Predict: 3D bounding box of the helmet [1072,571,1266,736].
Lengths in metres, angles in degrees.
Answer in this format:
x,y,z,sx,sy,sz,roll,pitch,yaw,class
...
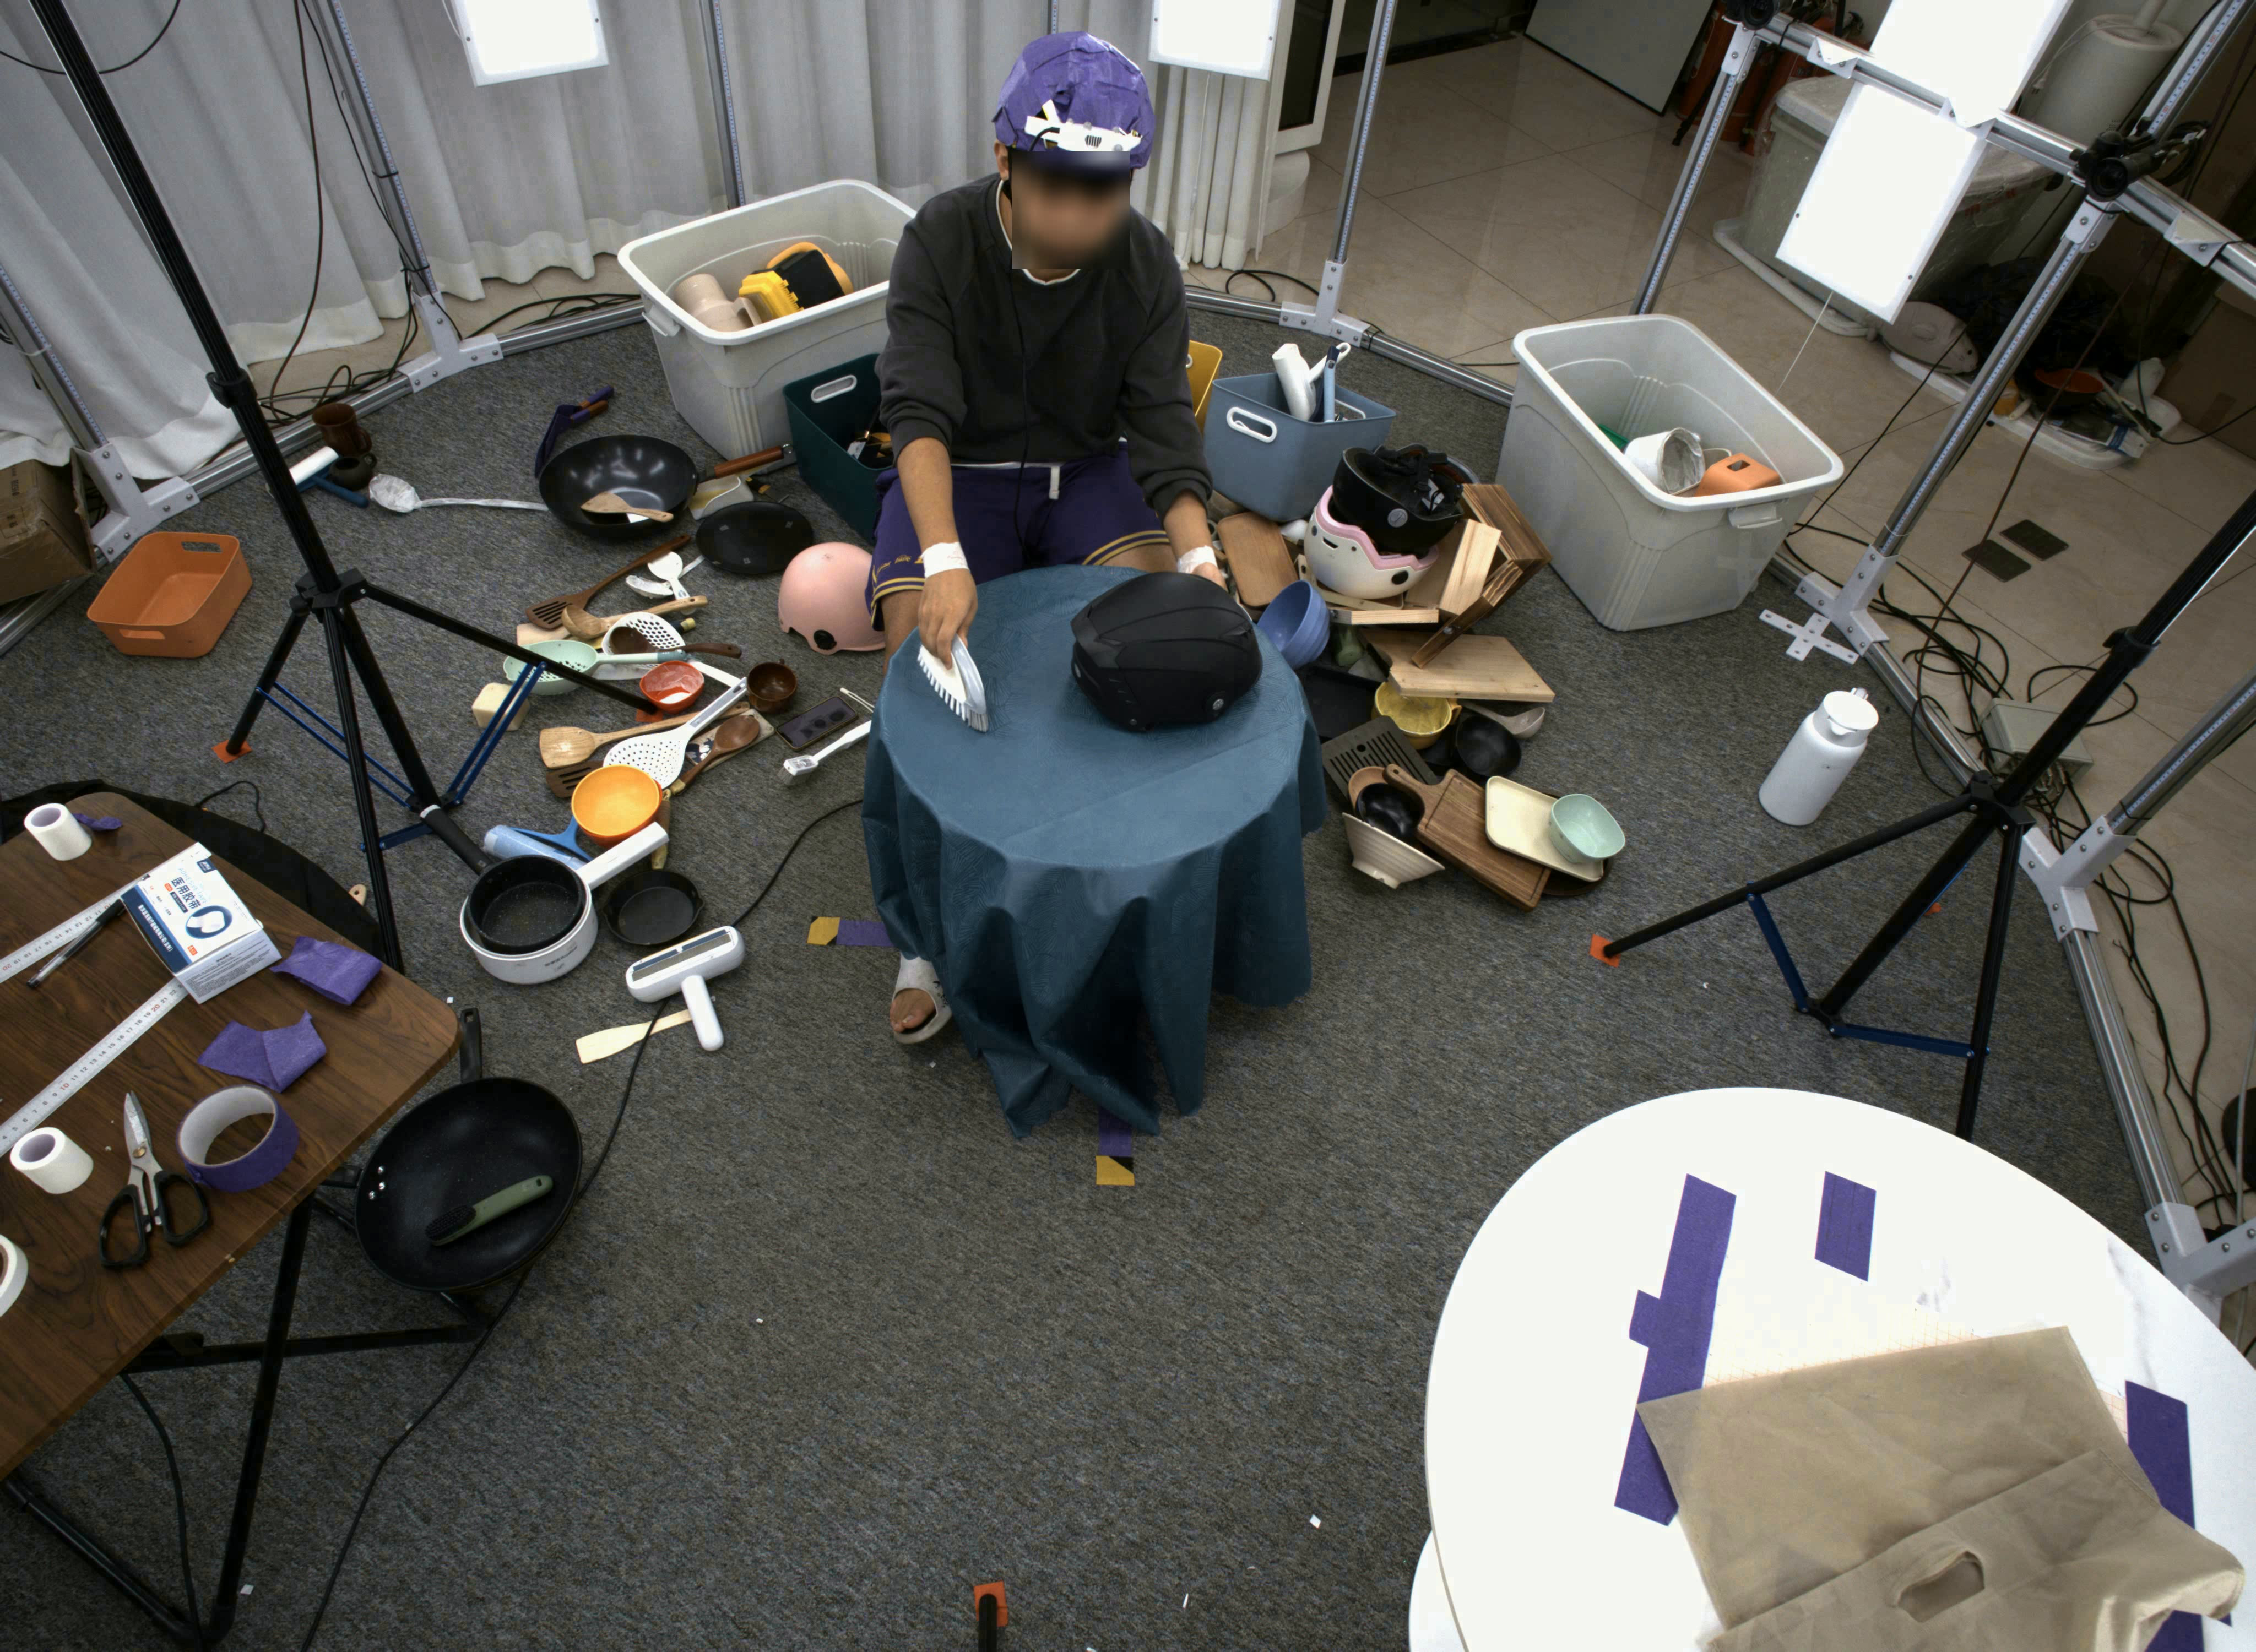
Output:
x,y,z,sx,sy,sz,roll,pitch,yaw,class
0.056,-0.263,1.796,0.277,0.168,0.252,-16,53,-12,helmet

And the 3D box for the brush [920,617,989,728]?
x,y,z,sx,sy,sz,roll,pitch,yaw,class
-0.234,-0.220,1.782,0.061,0.092,0.179,-21,55,-19,brush
